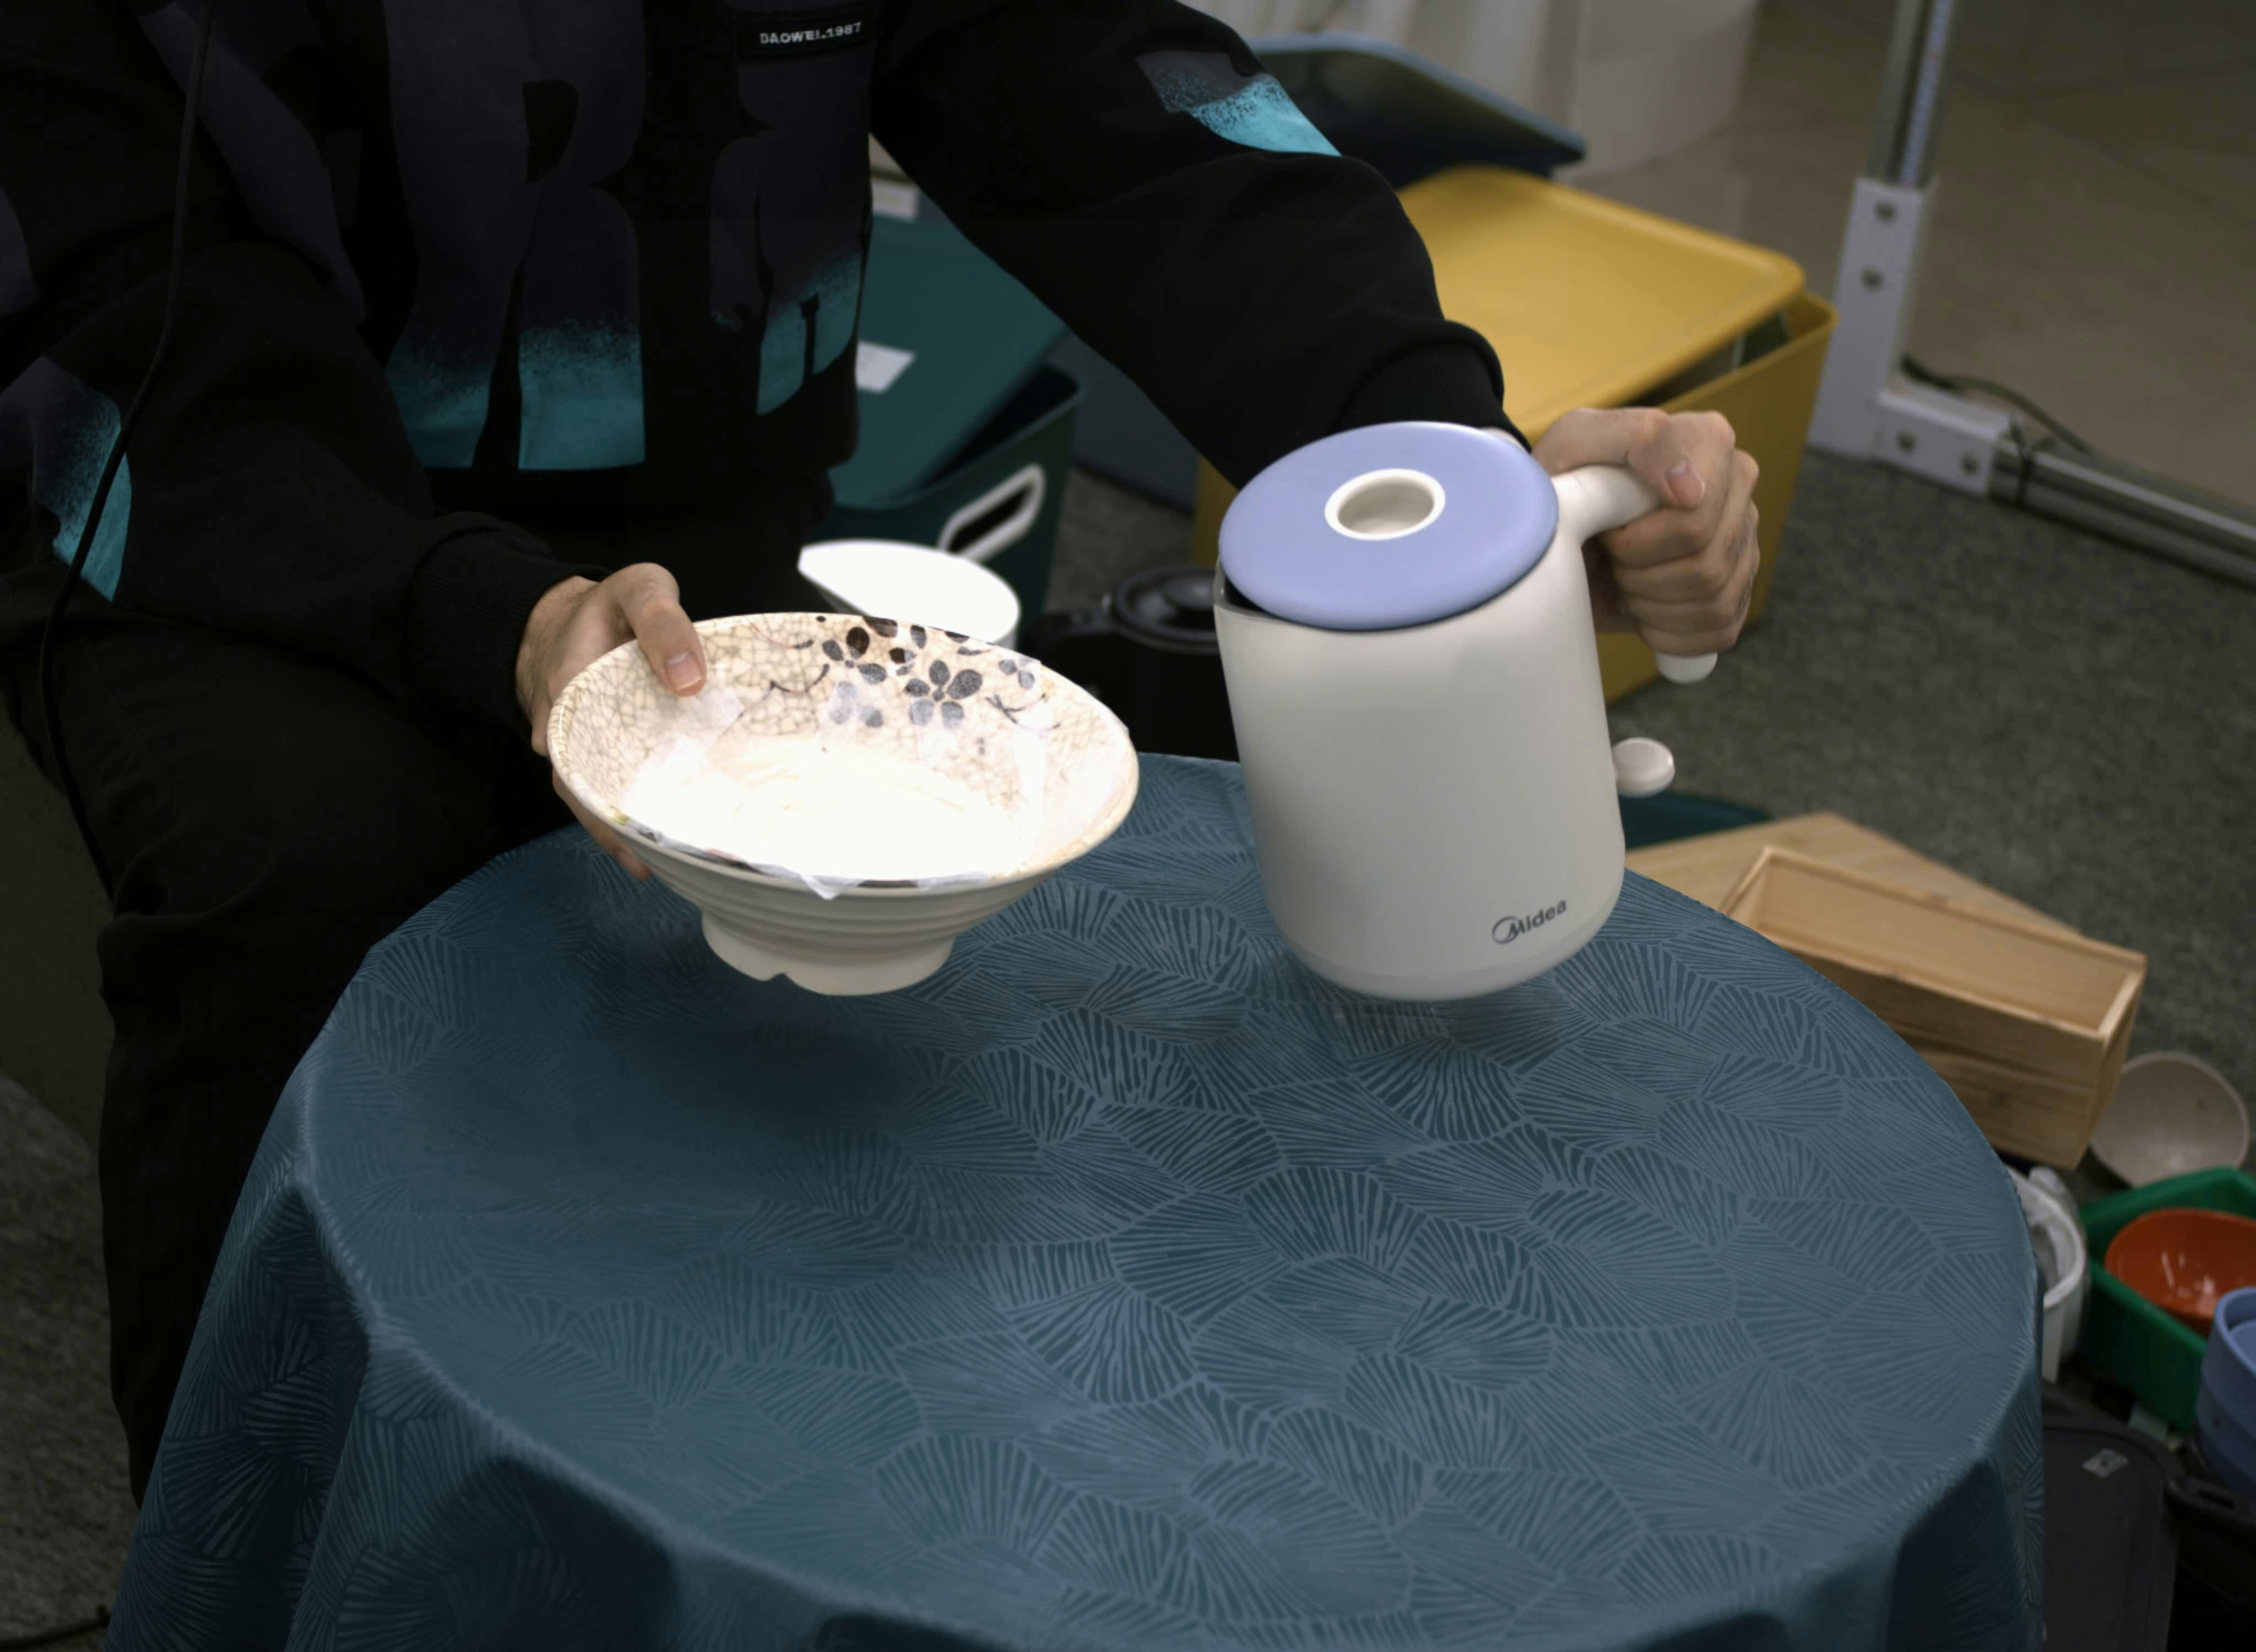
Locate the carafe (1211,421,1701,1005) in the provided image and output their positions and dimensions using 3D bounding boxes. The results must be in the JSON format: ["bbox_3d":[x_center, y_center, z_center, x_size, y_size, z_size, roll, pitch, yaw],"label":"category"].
[{"bbox_3d":[0.122,-0.049,1.886,0.190,0.181,0.133,-23,39,-19],"label":"carafe"}]

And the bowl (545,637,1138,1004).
[{"bbox_3d":[-0.101,0.008,1.831,0.203,0.078,0.205,4,24,-2],"label":"bowl"}]
